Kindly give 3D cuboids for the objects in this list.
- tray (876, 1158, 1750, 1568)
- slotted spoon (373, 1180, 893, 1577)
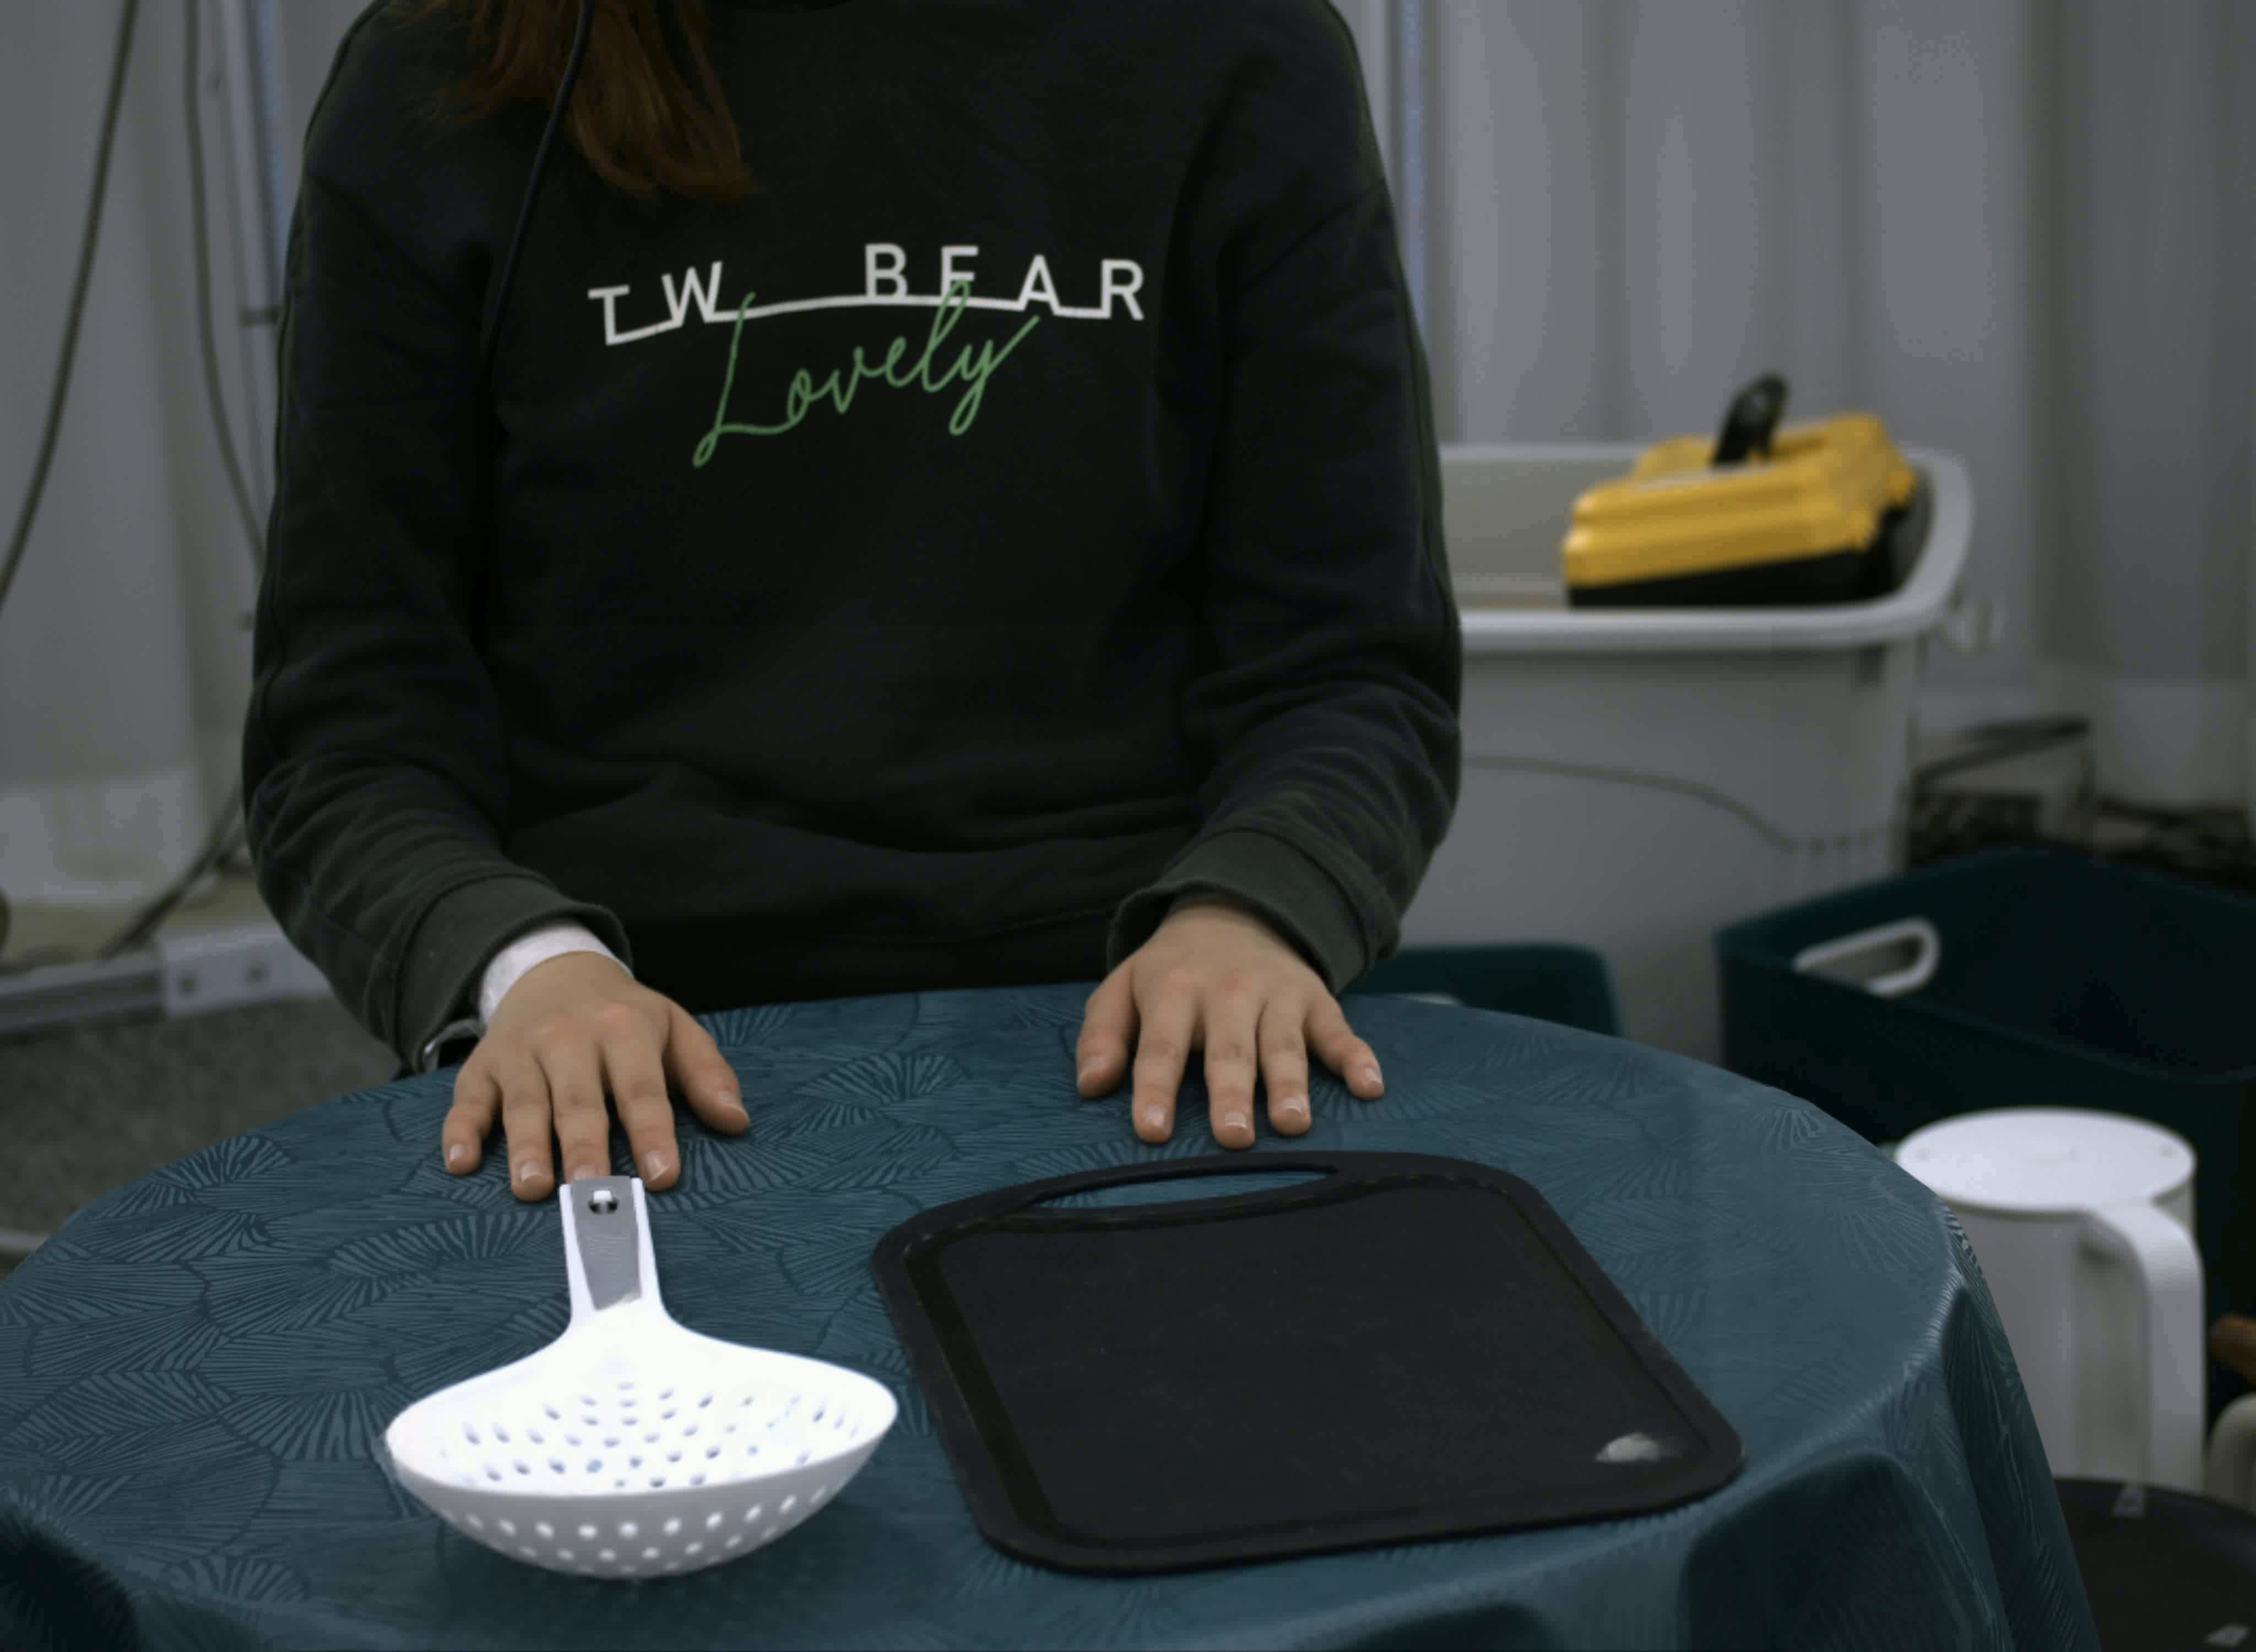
[{"bbox_3d":[0.043,0.146,1.574,0.210,0.010,0.328,-5,15,-9],"label":"tray"},{"bbox_3d":[-0.142,0.146,1.538,0.135,0.045,0.352,-2,14,-7],"label":"slotted spoon"}]
